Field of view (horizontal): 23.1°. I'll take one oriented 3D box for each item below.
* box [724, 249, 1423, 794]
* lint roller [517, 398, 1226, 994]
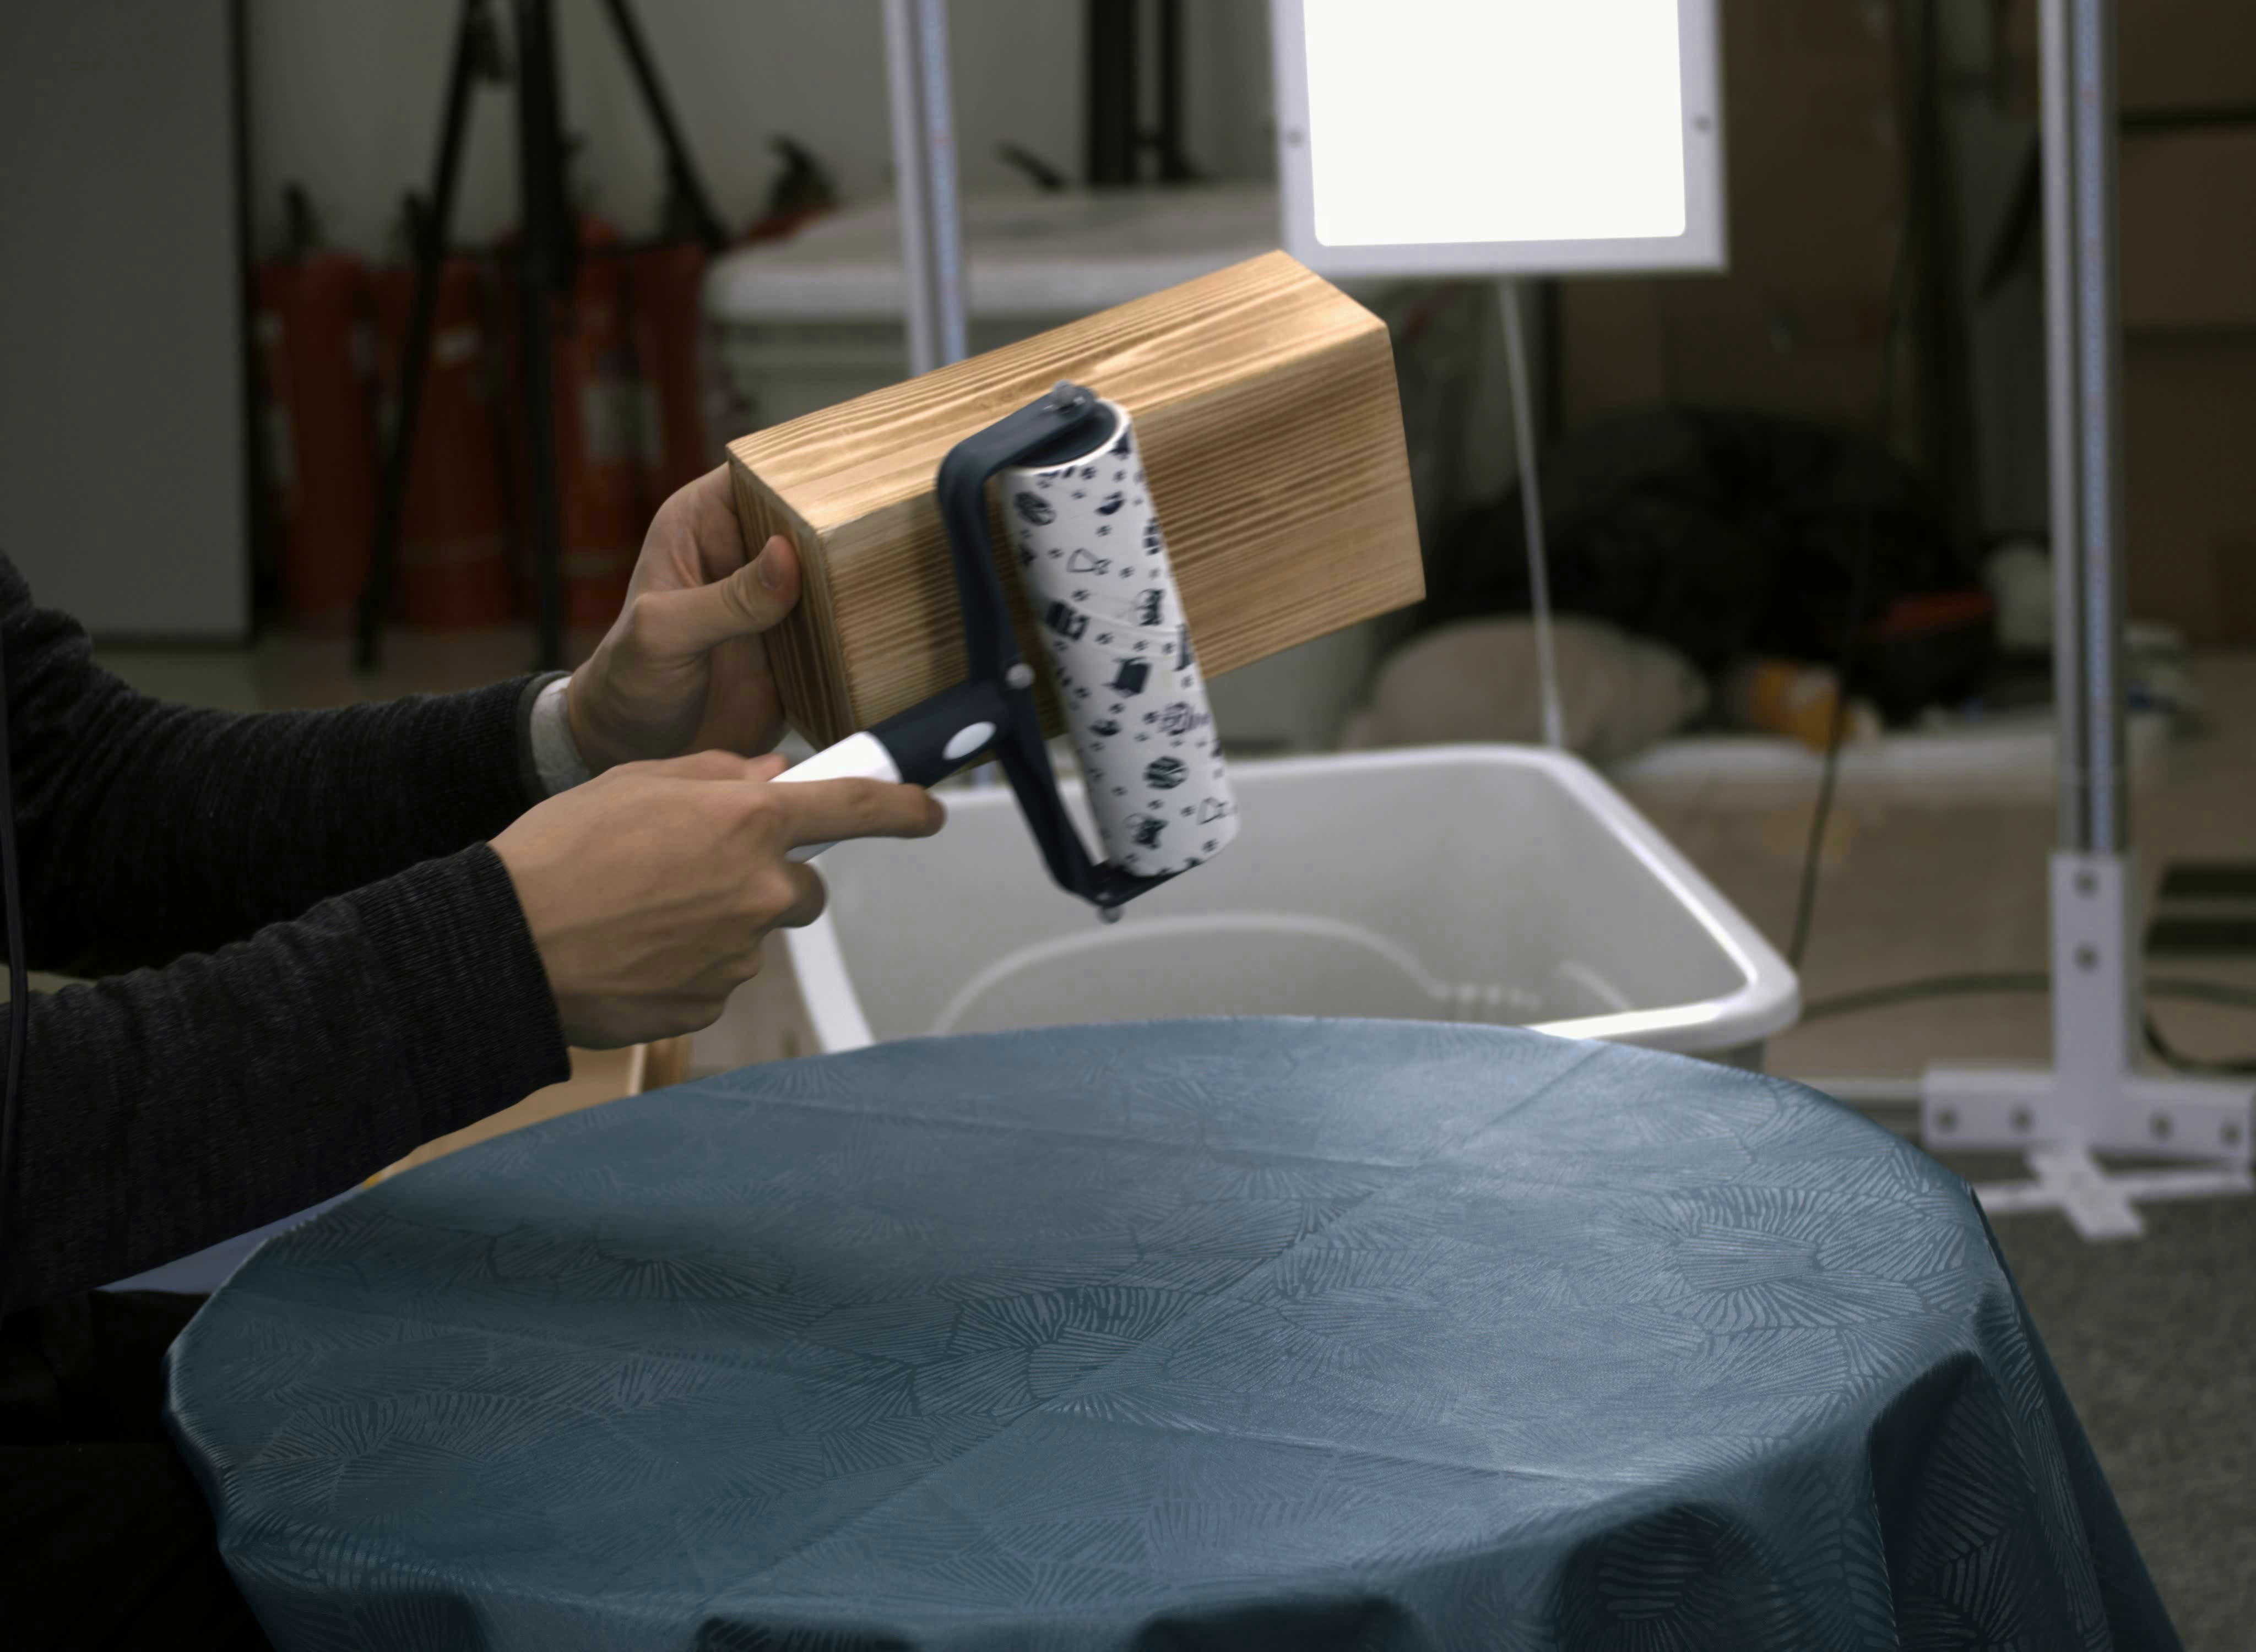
[{"bbox_3d":[-0.016,-0.101,1.847,0.208,0.108,0.081,-21,33,-15],"label":"box"},{"bbox_3d":[-0.085,-0.008,1.760,0.243,0.176,0.051,-32,34,-22],"label":"lint roller"}]
